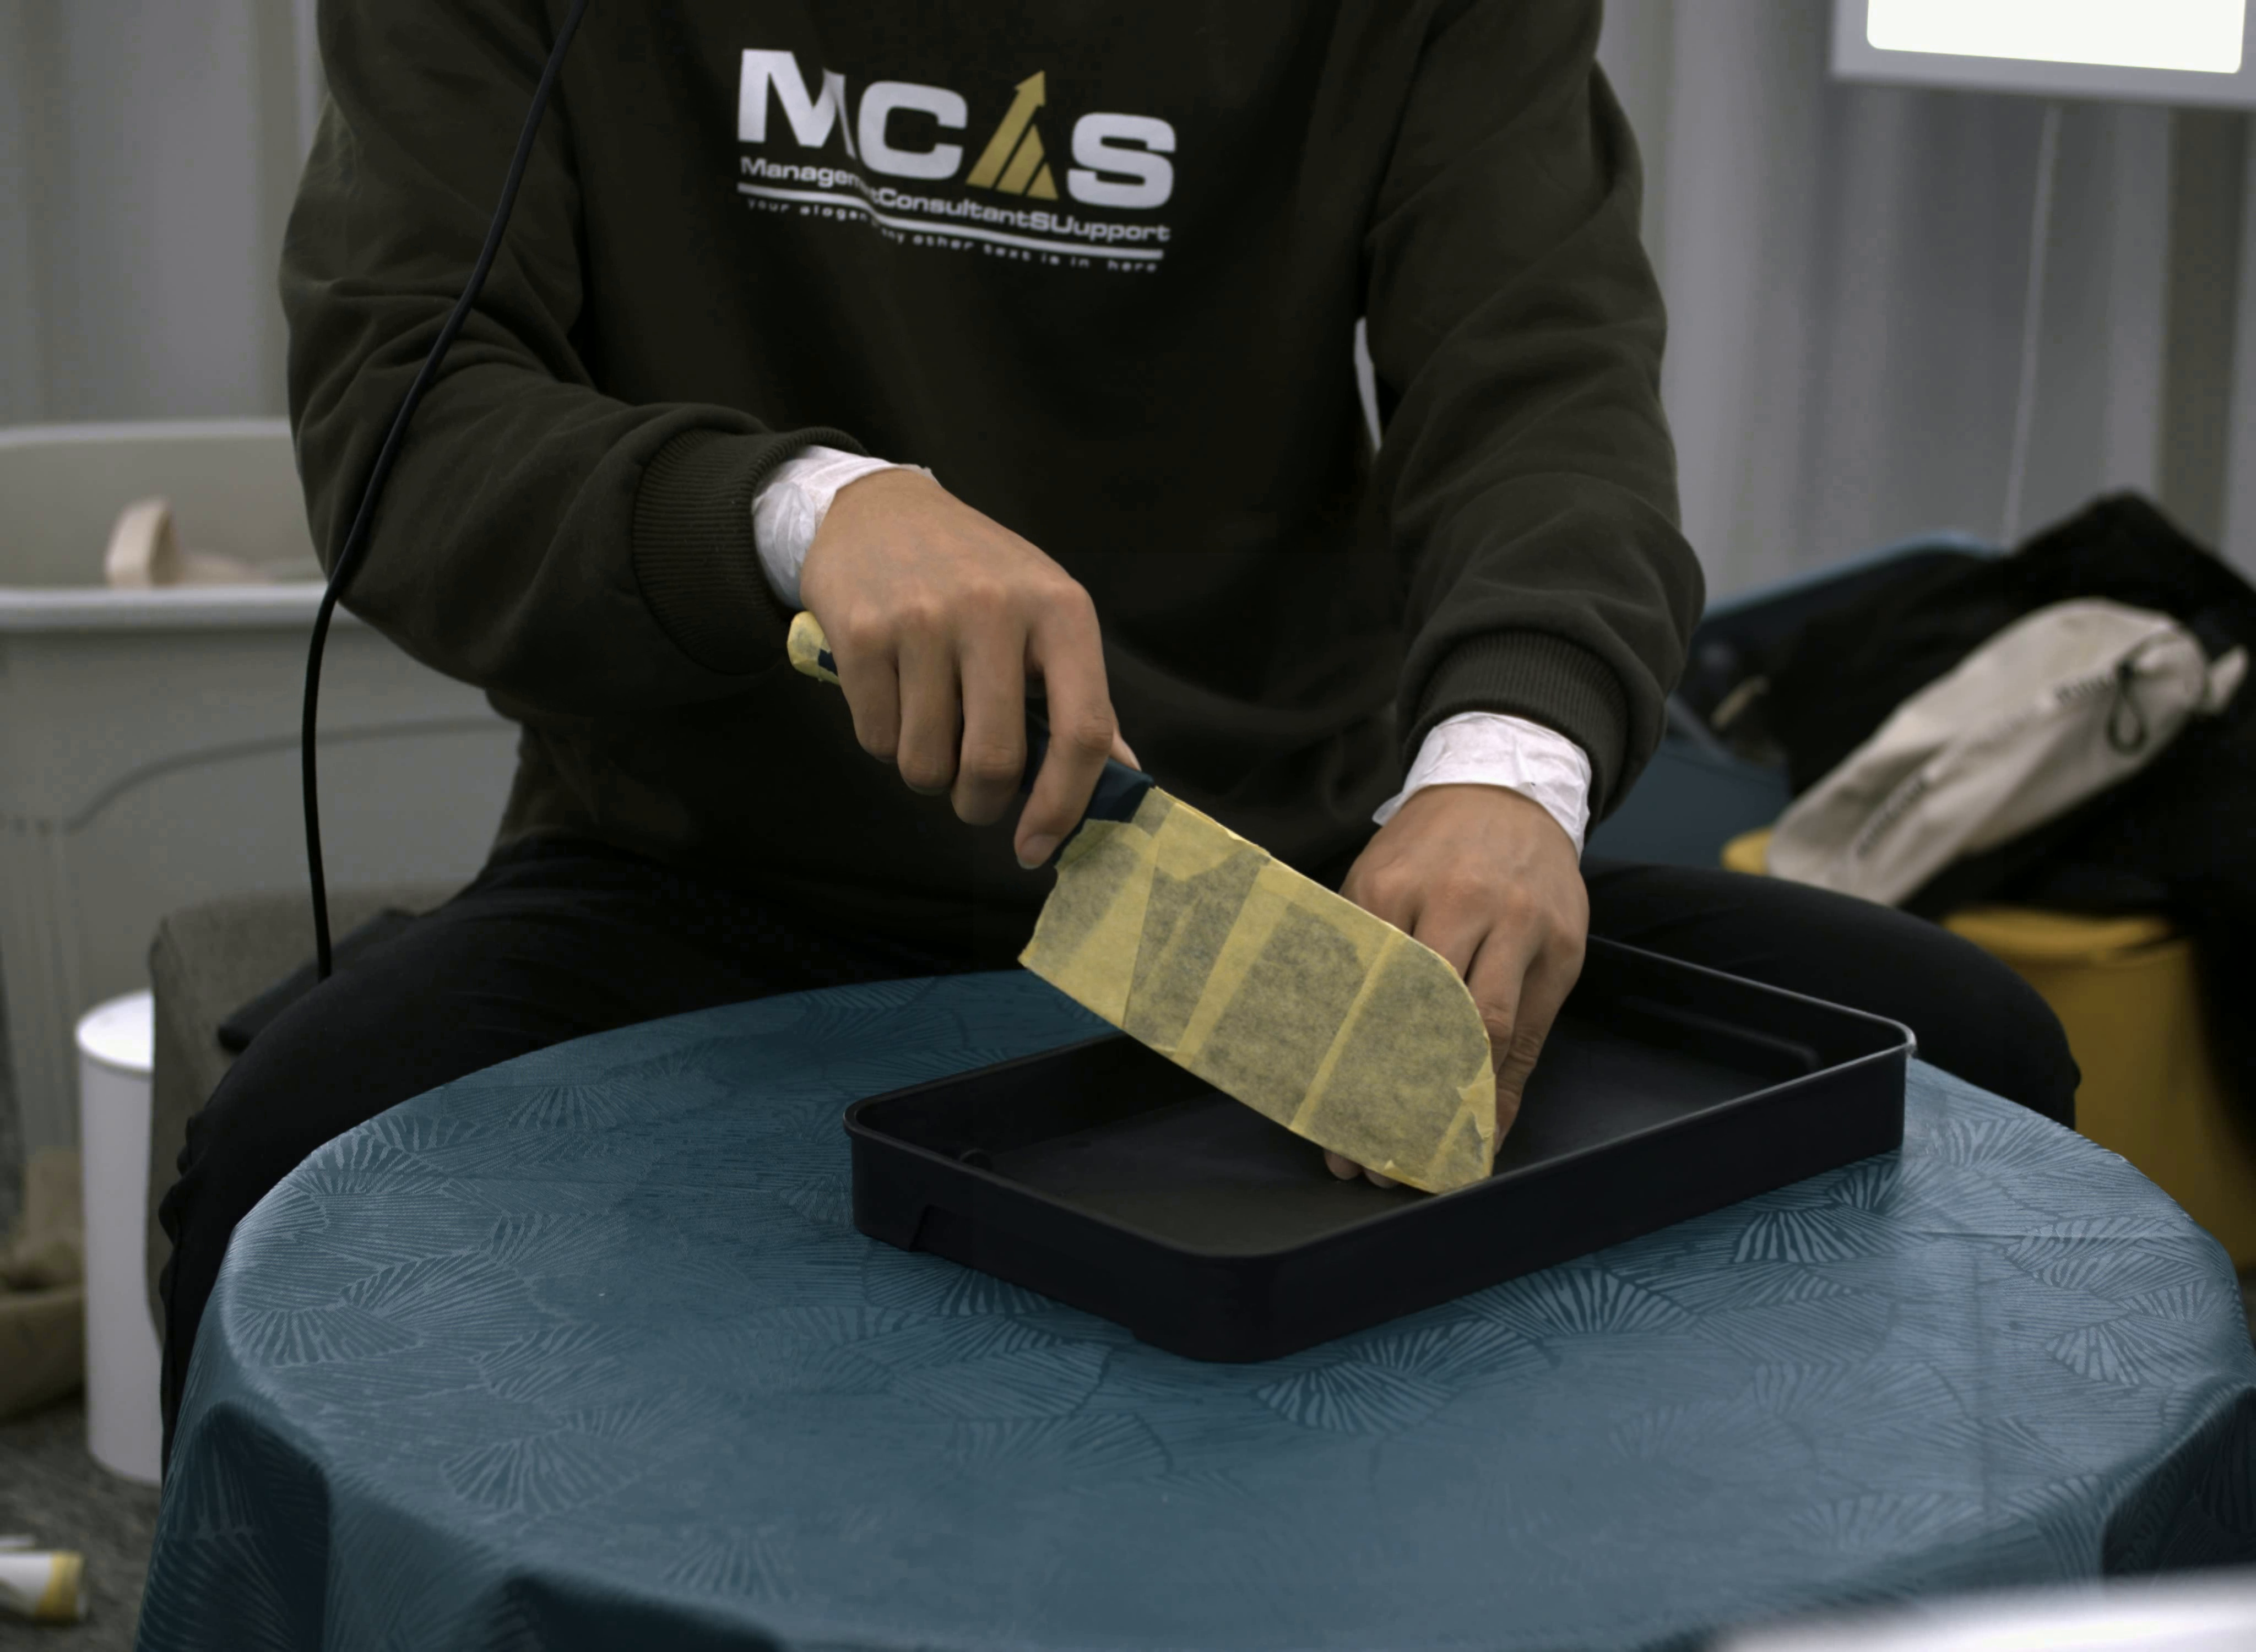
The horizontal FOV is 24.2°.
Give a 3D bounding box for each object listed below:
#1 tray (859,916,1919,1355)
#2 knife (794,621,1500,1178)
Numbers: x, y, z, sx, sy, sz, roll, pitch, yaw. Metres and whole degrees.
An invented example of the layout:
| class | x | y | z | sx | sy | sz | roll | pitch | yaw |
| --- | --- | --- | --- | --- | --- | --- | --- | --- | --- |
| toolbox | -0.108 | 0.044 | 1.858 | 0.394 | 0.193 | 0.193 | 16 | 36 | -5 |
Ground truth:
| class | x | y | z | sx | sy | sz | roll | pitch | yaw |
| --- | --- | --- | --- | --- | --- | --- | --- | --- | --- |
| tray | 0.085 | 0.090 | 1.637 | 0.182 | 0.037 | 0.319 | 16 | 21 | 43 |
| knife | 0.001 | 0.021 | 1.650 | 0.286 | 0.081 | 0.027 | 34 | 11 | 21 |
